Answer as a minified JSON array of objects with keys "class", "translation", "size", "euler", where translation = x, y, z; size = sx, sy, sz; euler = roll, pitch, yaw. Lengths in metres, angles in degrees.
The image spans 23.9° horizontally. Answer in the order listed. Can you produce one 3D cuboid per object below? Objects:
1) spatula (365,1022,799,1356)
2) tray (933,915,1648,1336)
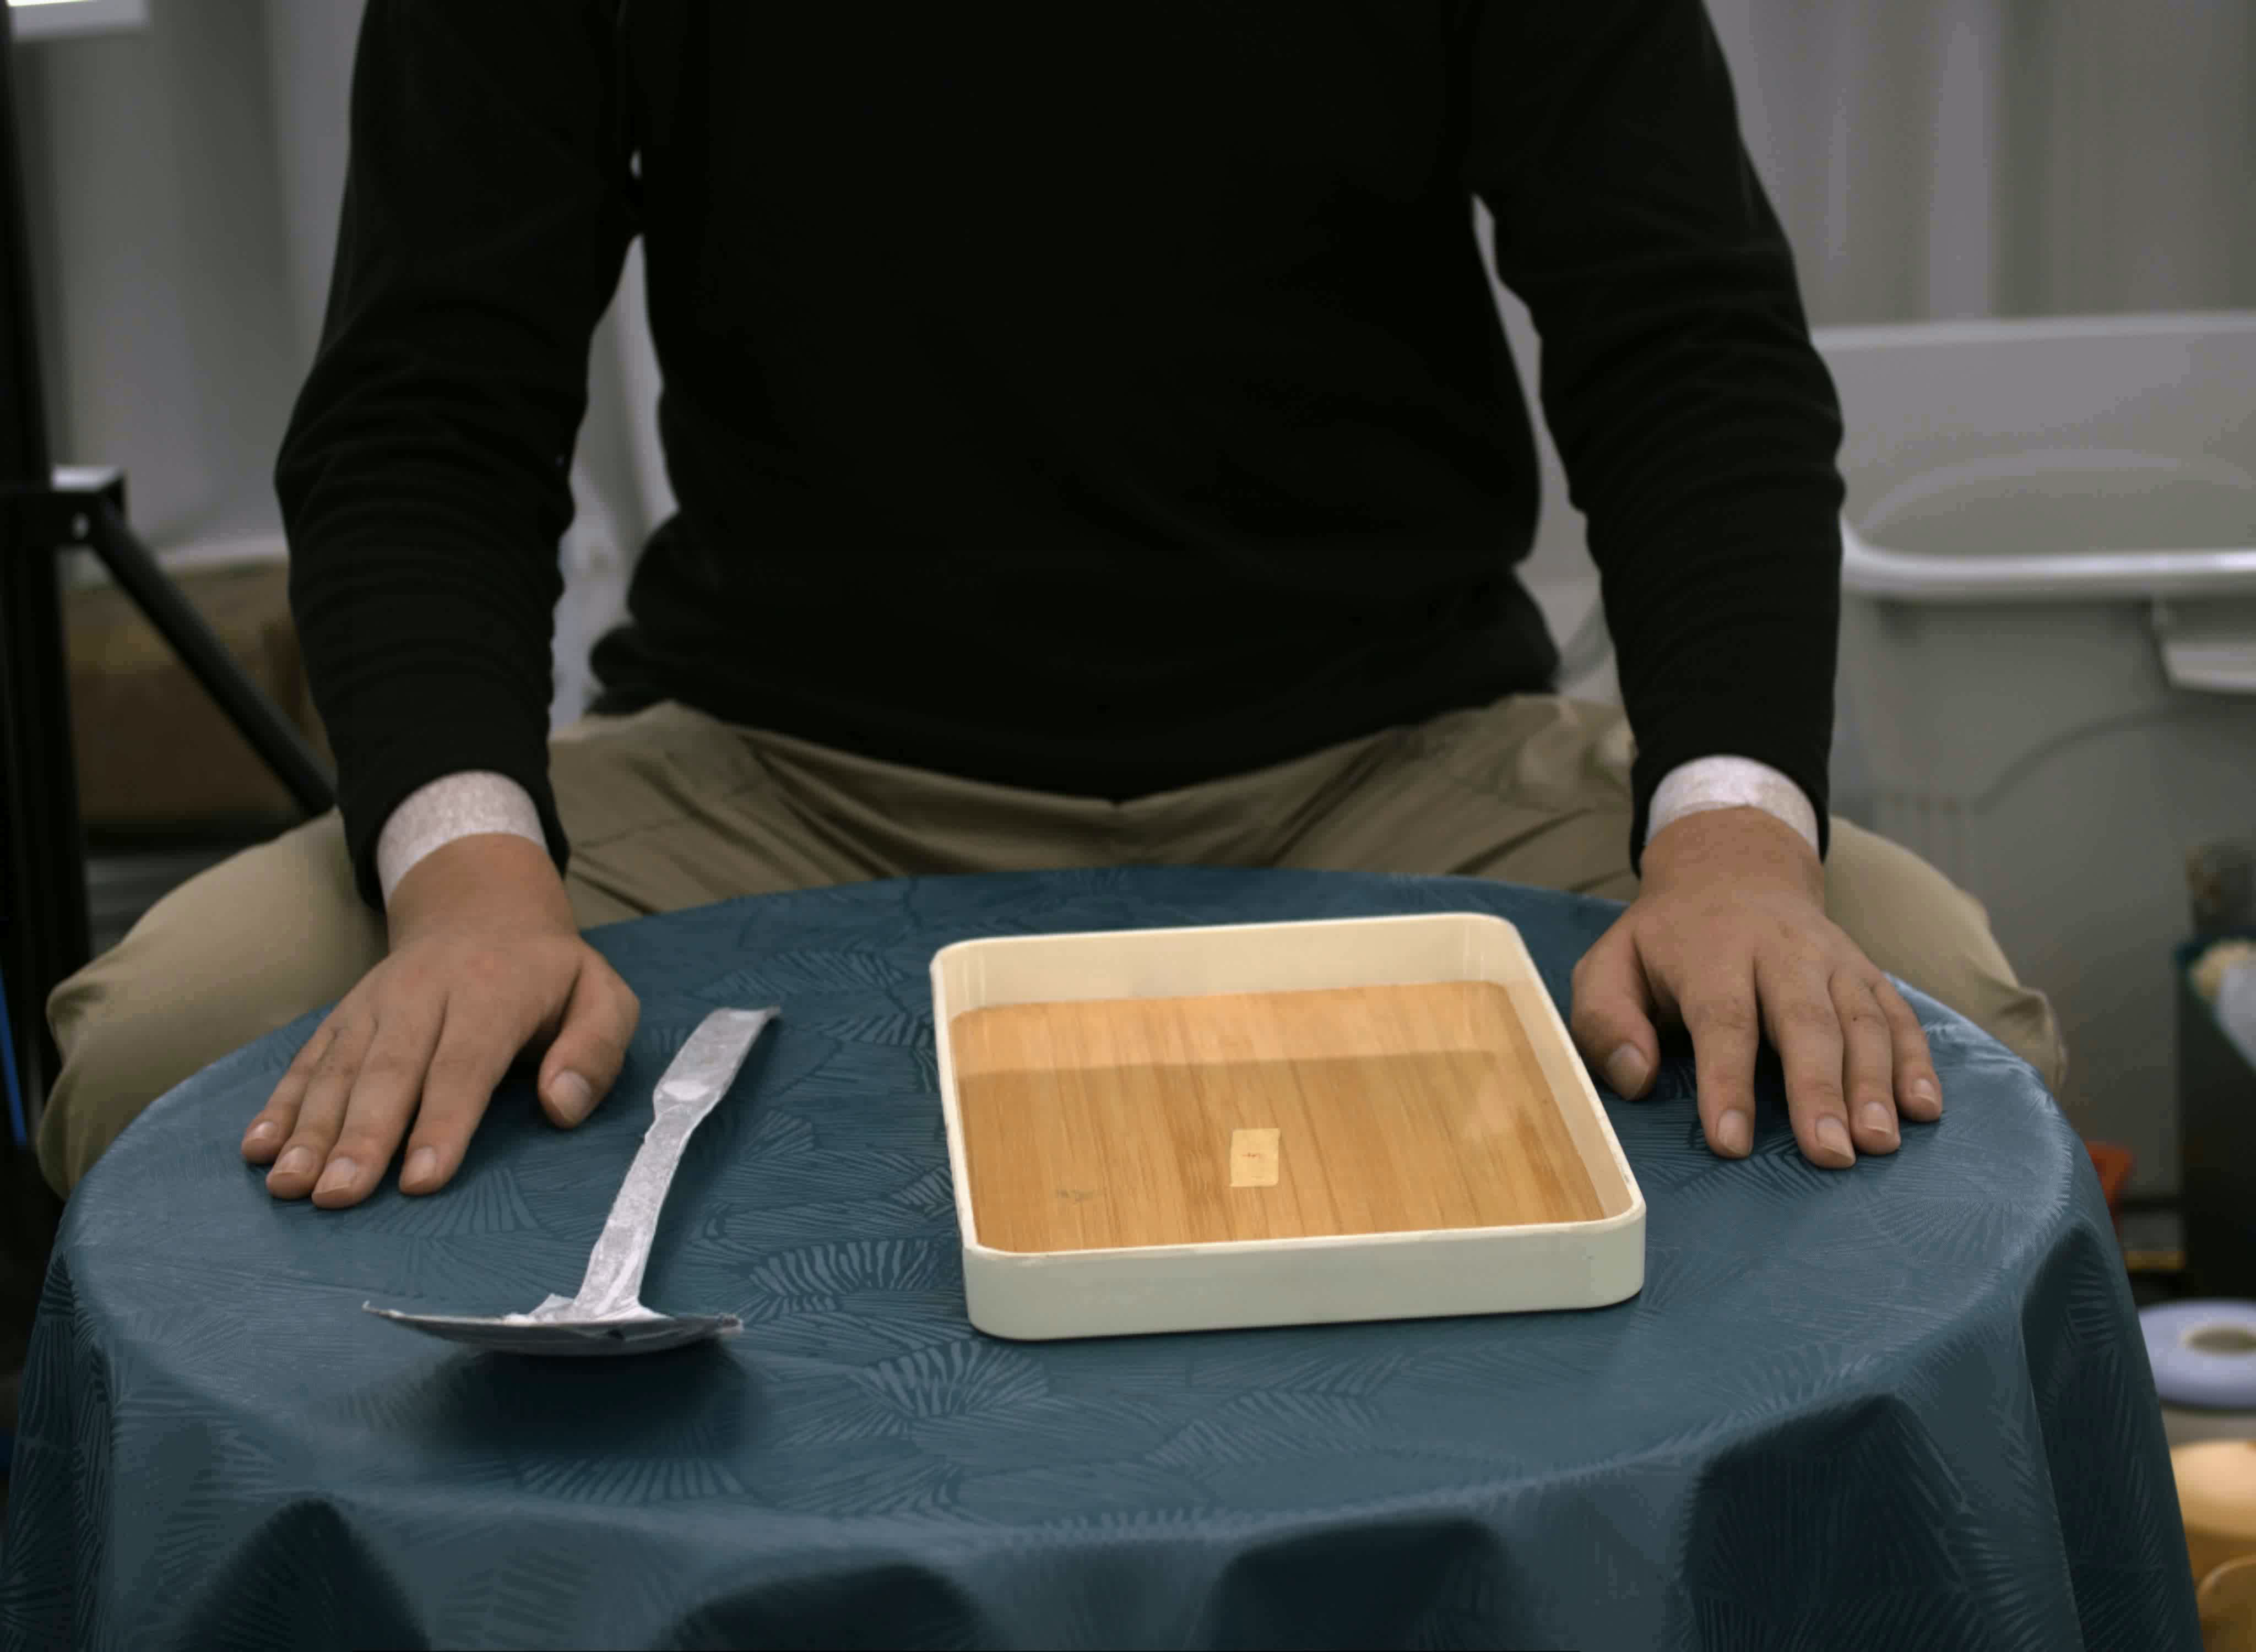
[{"class":"spatula","translation":[-0.136,0.096,1.551],"size":[0.099,0.045,0.364],"euler":[-1,16,6]},{"class":"tray","translation":[0.041,0.085,1.582],"size":[0.190,0.027,0.302],"euler":[-3,16,-2]}]
